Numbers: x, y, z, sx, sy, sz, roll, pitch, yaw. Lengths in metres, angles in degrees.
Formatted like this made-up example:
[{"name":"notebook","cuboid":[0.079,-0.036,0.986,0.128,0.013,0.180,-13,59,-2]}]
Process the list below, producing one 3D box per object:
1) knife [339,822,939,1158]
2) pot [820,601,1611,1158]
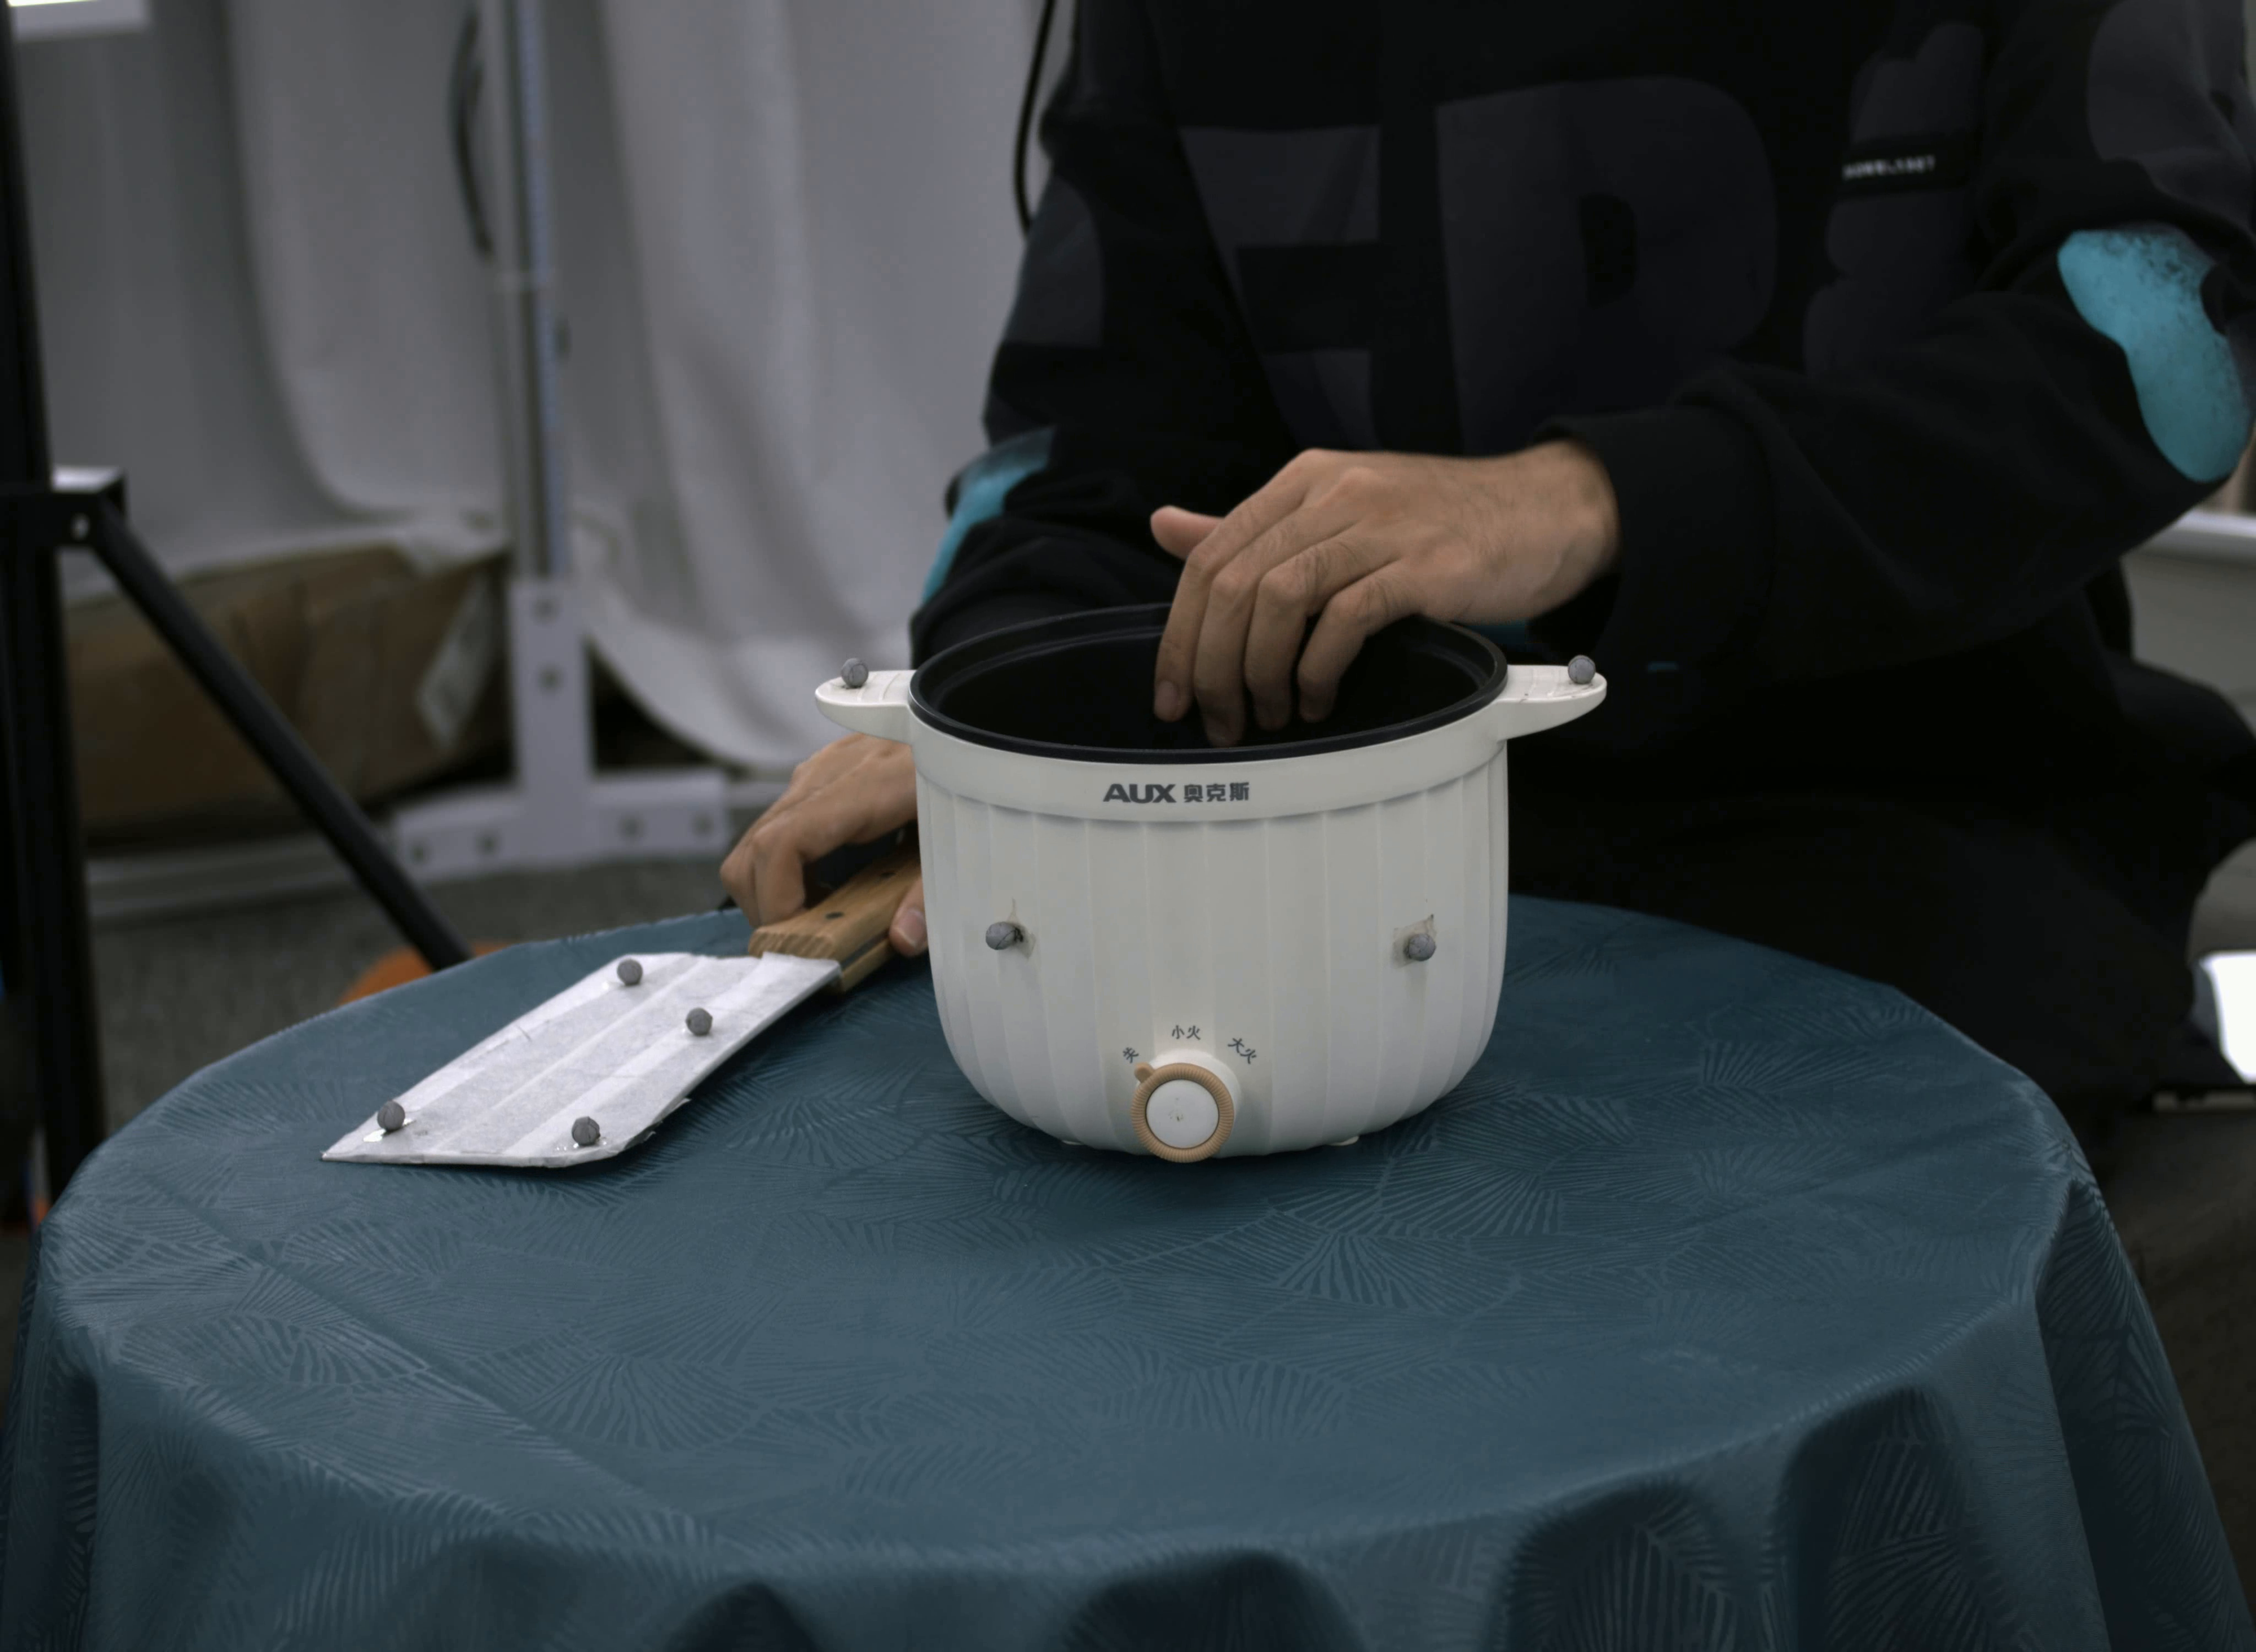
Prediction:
[{"name":"knife","cuboid":[-0.134,0.055,1.729,0.116,0.022,0.310,2,19,30]},{"name":"pot","cuboid":[0.028,0.019,1.613,0.241,0.143,0.190,-1,12,9]}]
